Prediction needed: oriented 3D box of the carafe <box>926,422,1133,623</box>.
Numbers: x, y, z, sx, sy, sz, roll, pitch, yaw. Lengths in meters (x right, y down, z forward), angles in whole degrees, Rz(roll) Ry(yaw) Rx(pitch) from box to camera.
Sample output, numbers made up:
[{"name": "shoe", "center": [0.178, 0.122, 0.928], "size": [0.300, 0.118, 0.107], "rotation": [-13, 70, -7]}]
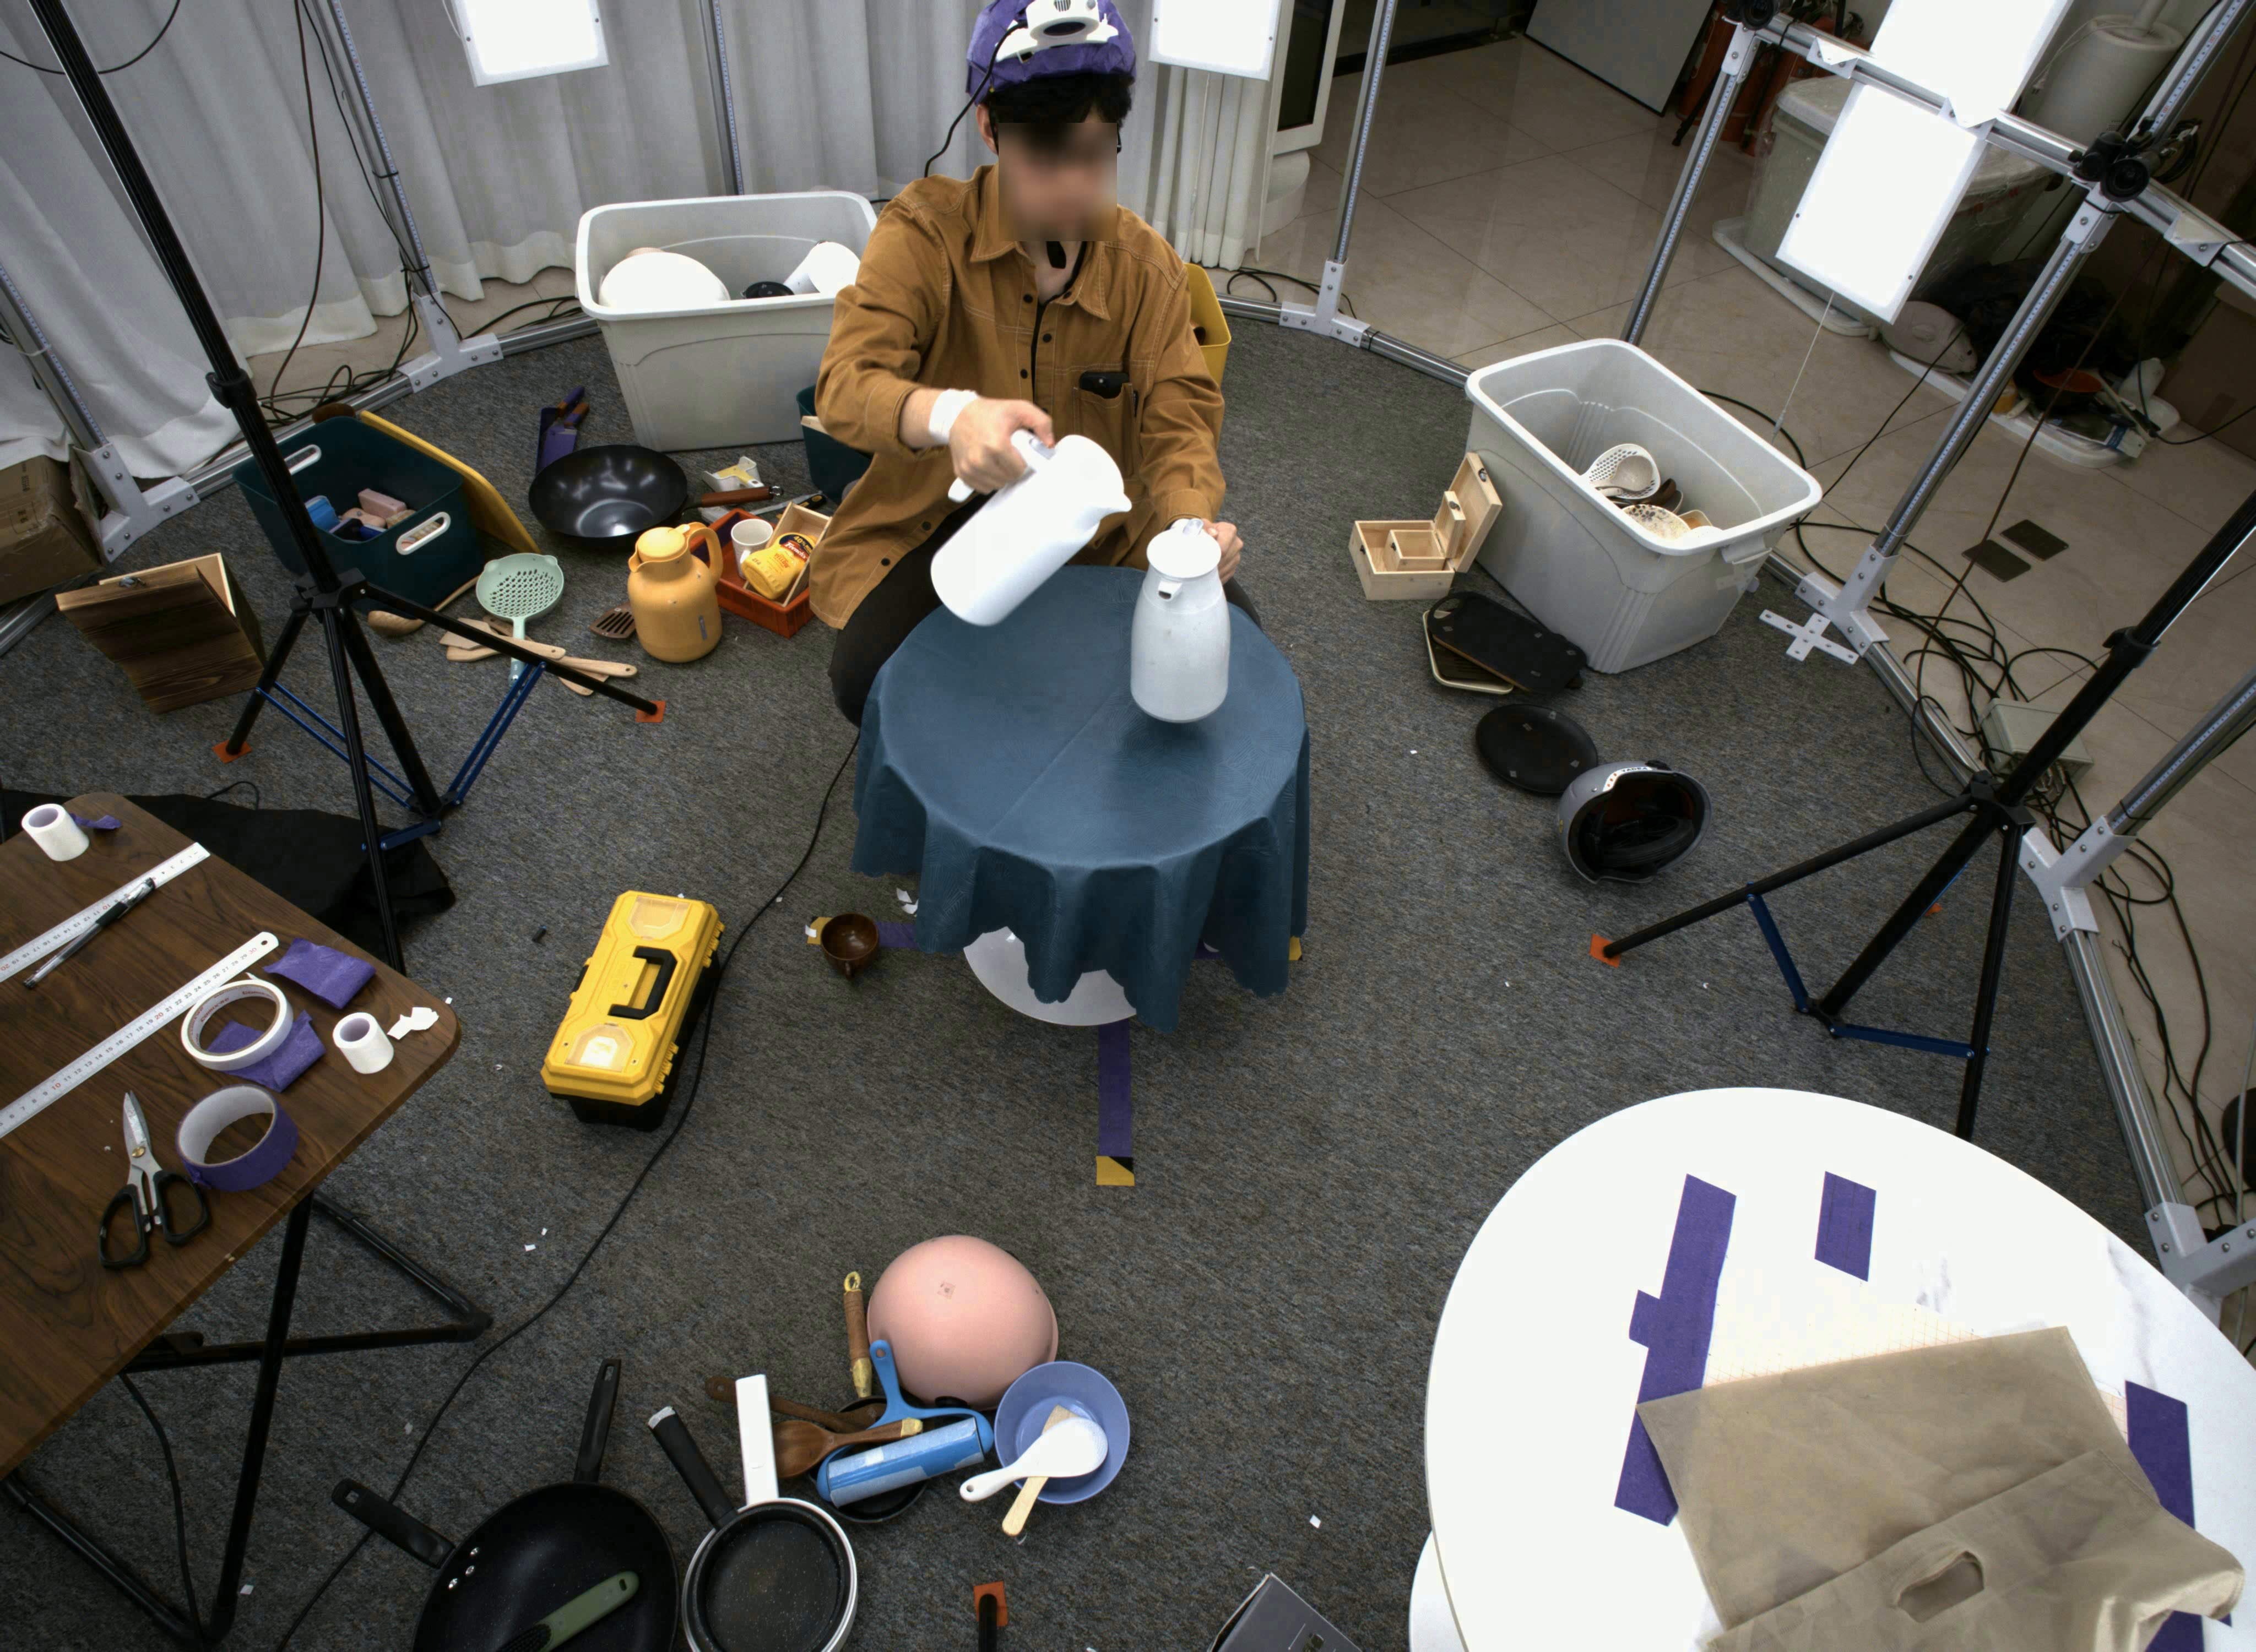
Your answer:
[{"name": "carafe", "center": [-0.141, -0.364, 1.545], "size": [0.170, 0.266, 0.126], "rotation": [30, 51, -27]}]

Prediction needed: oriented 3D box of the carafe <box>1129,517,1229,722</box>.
[{"name": "carafe", "center": [0.073, -0.279, 1.666], "size": [0.133, 0.242, 0.171], "rotation": [17, 53, 14]}]
